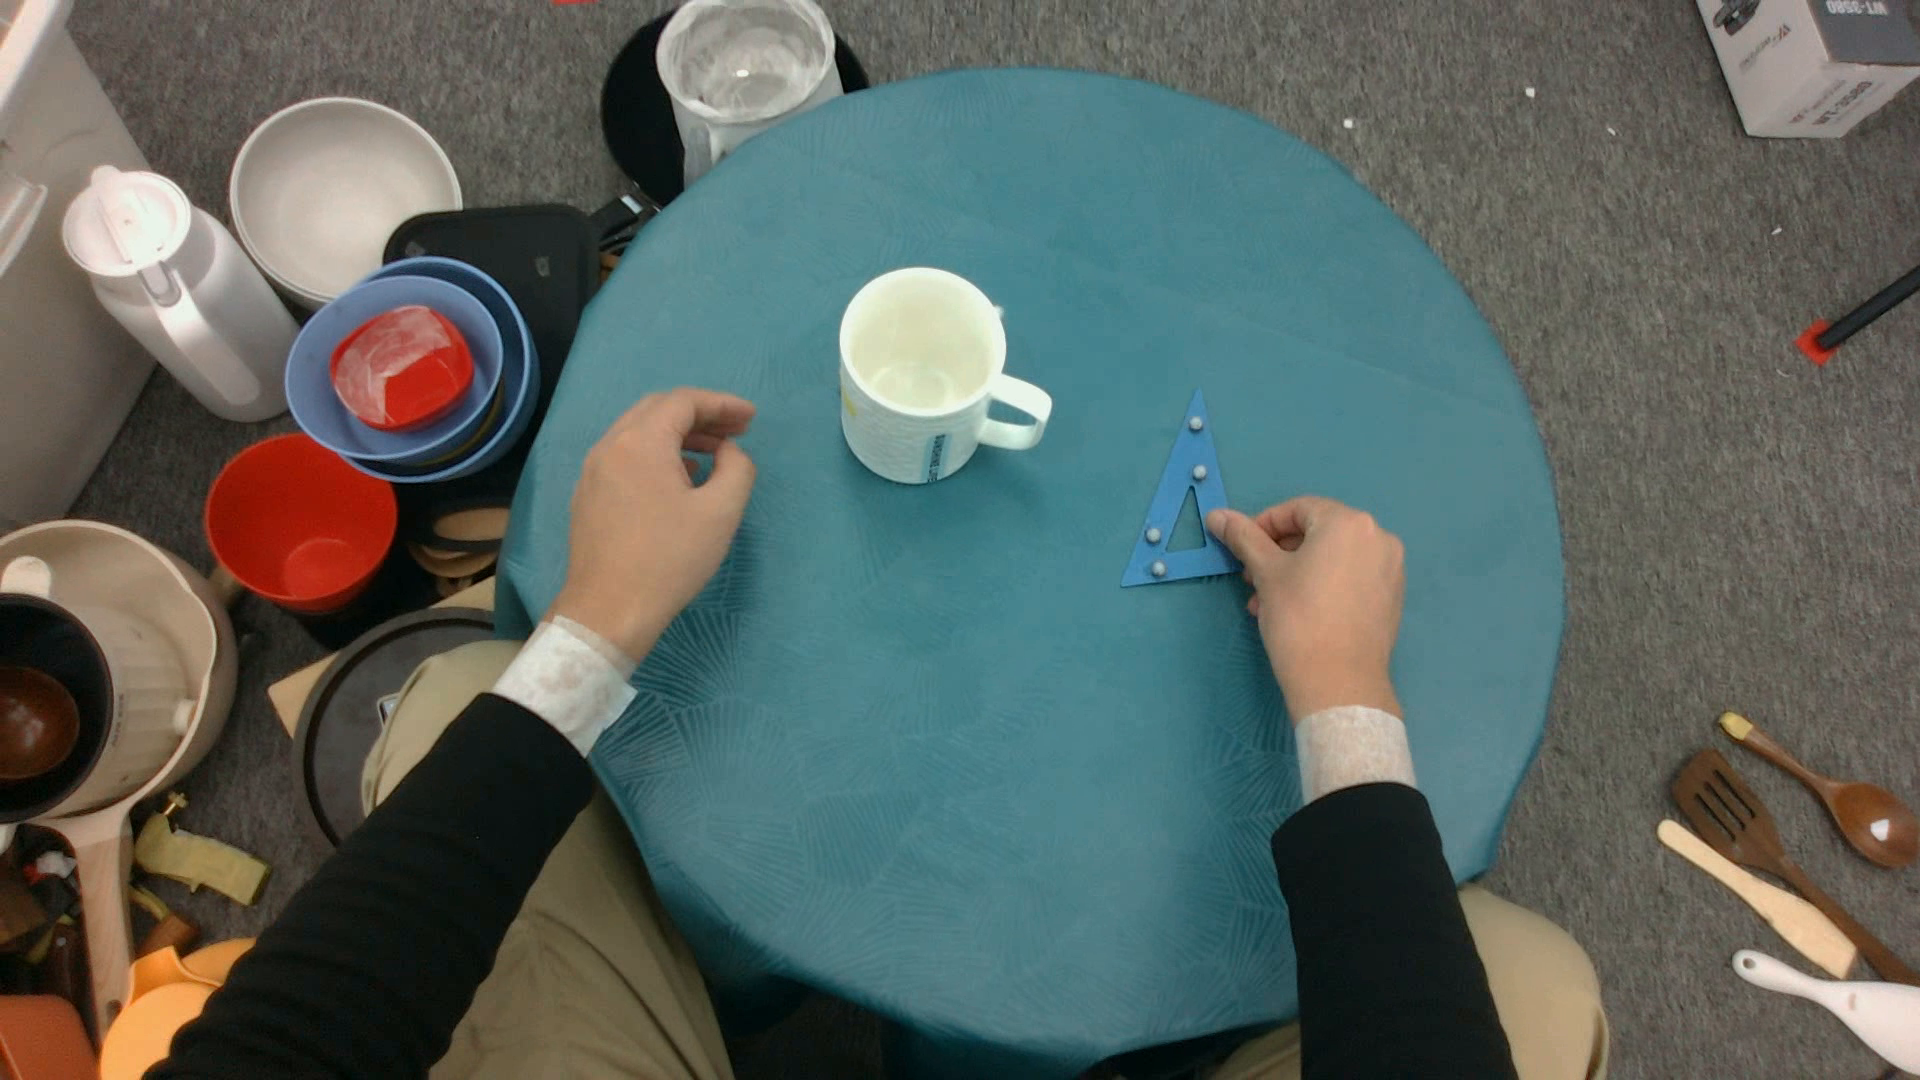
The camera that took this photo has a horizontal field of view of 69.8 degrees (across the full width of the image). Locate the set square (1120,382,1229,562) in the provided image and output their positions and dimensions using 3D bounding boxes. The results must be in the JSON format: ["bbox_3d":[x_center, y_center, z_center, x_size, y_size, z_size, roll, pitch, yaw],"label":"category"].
[{"bbox_3d":[0.145,-0.032,0.811,0.061,0.006,0.132,26,70,4],"label":"set square"}]

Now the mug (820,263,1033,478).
[{"bbox_3d":[-0.019,-0.084,0.759,0.118,0.101,0.085,21,69,2],"label":"mug"}]
